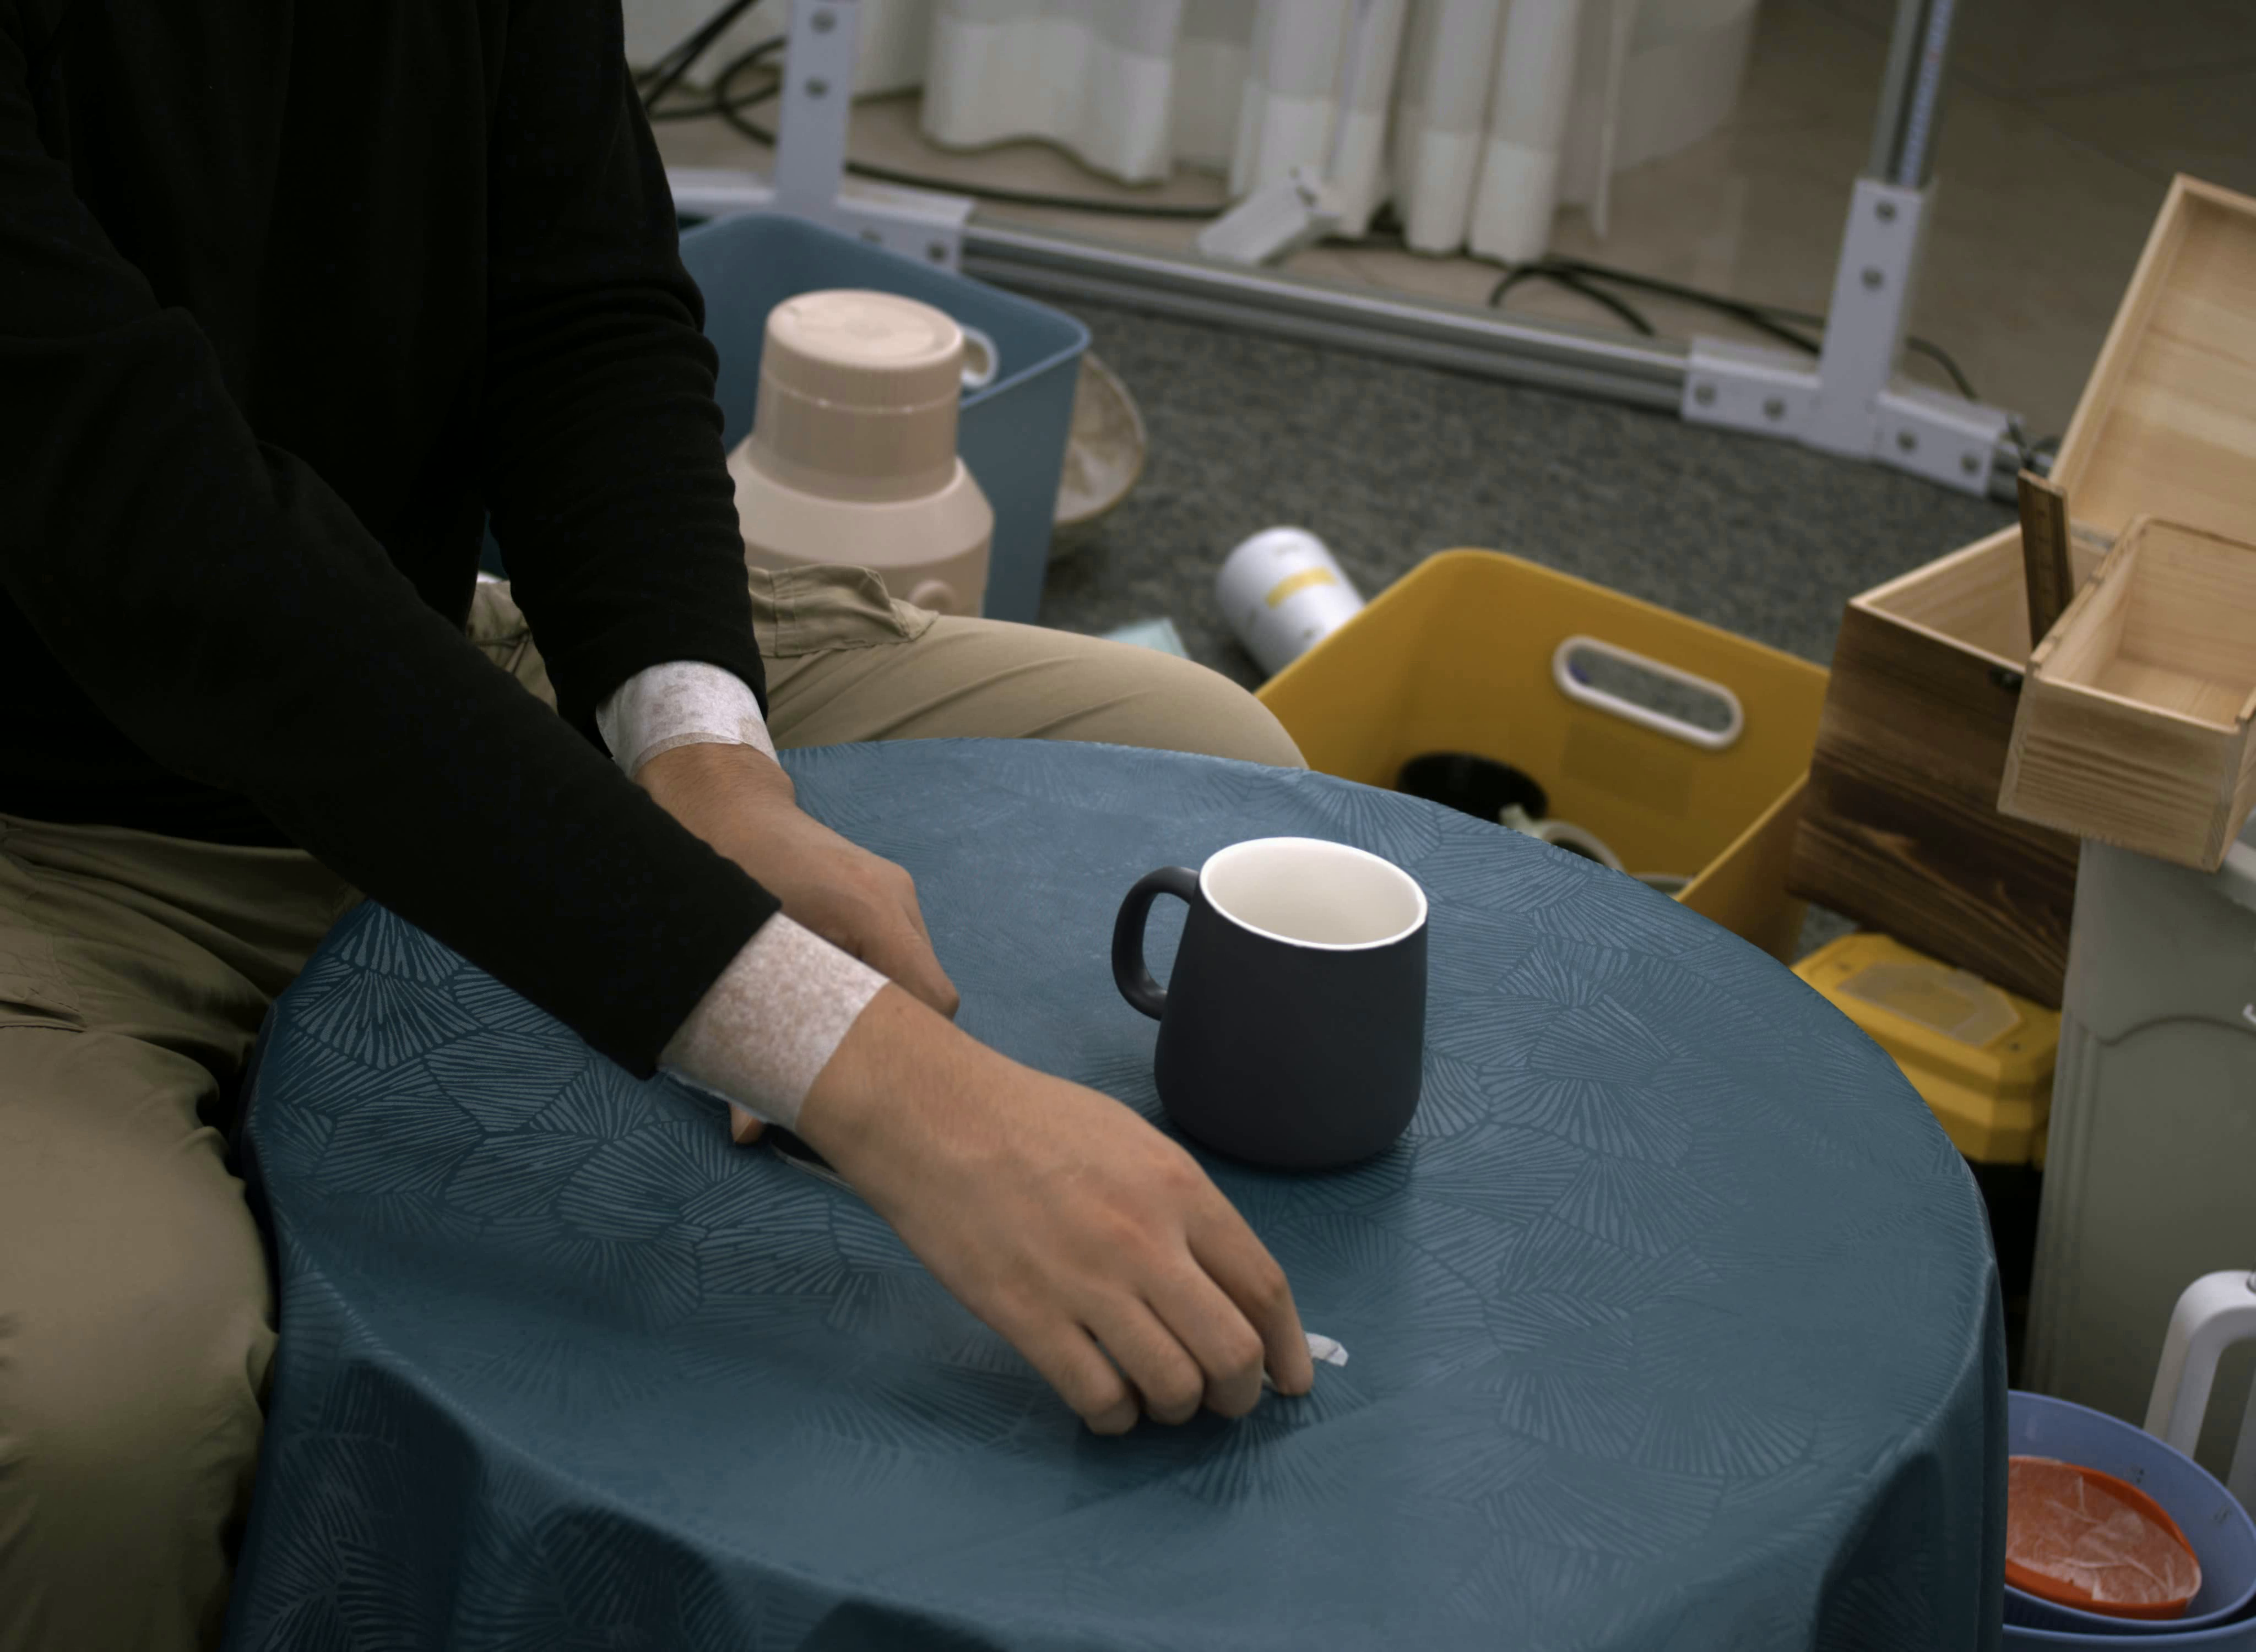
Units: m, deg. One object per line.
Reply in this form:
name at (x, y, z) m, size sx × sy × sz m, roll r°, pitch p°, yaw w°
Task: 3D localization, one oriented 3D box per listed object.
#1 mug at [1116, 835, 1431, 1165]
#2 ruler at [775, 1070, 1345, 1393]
mug at (0.047, 0.055, 1.845) m, size 0.124 × 0.089 × 0.093 m, roll 26°, pitch 31°, yaw 31°
ruler at (-0.028, 0.131, 1.757) m, size 0.219 × 0.024 × 0.038 m, roll 22°, pitch 39°, yaw 30°
